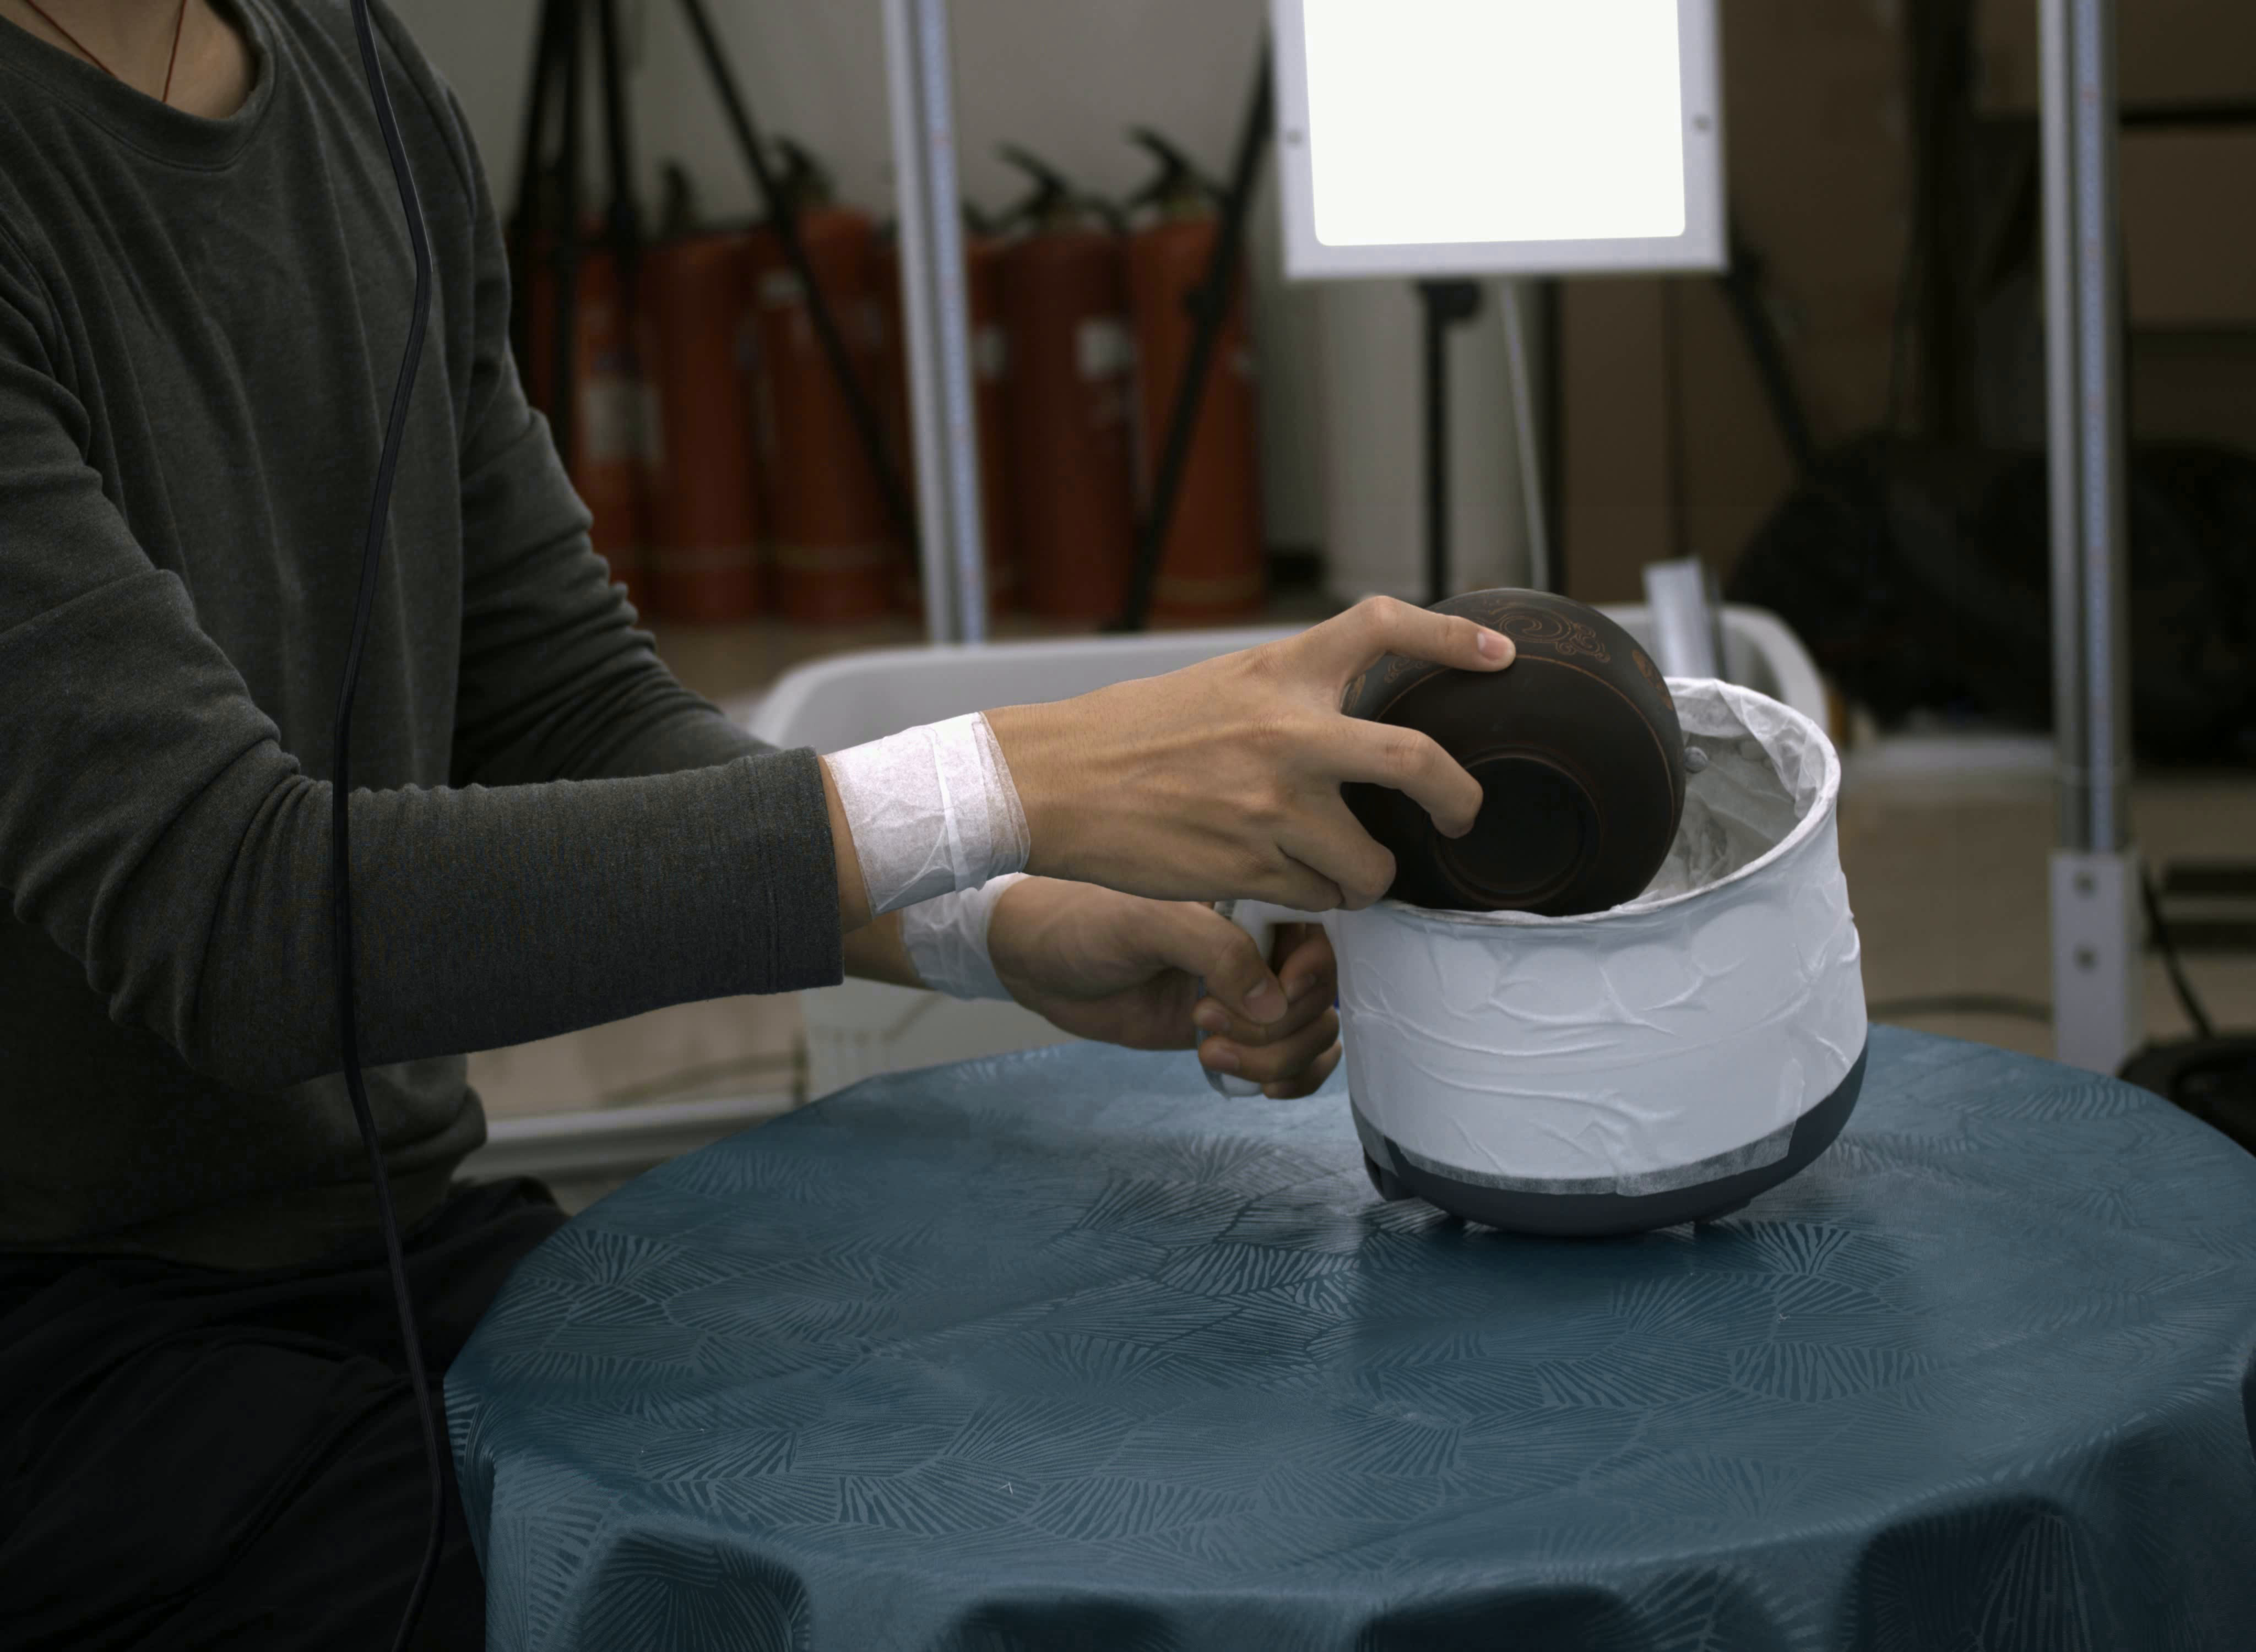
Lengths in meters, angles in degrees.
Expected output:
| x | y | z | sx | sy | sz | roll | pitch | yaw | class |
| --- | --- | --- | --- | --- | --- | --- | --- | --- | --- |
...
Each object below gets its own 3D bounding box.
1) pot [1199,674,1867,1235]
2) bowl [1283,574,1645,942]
| x | y | z | sx | sy | sz | roll | pitch | yaw | class |
| --- | --- | --- | --- | --- | --- | --- | --- | --- | --- |
| 0.132 | 0.045 | 1.854 | 0.237 | 0.137 | 0.176 | 0 | 27 | 21 | pot |
| 0.111 | -0.016 | 1.769 | 0.117 | 0.118 | 0.070 | -4 | 25 | 0 | bowl |
